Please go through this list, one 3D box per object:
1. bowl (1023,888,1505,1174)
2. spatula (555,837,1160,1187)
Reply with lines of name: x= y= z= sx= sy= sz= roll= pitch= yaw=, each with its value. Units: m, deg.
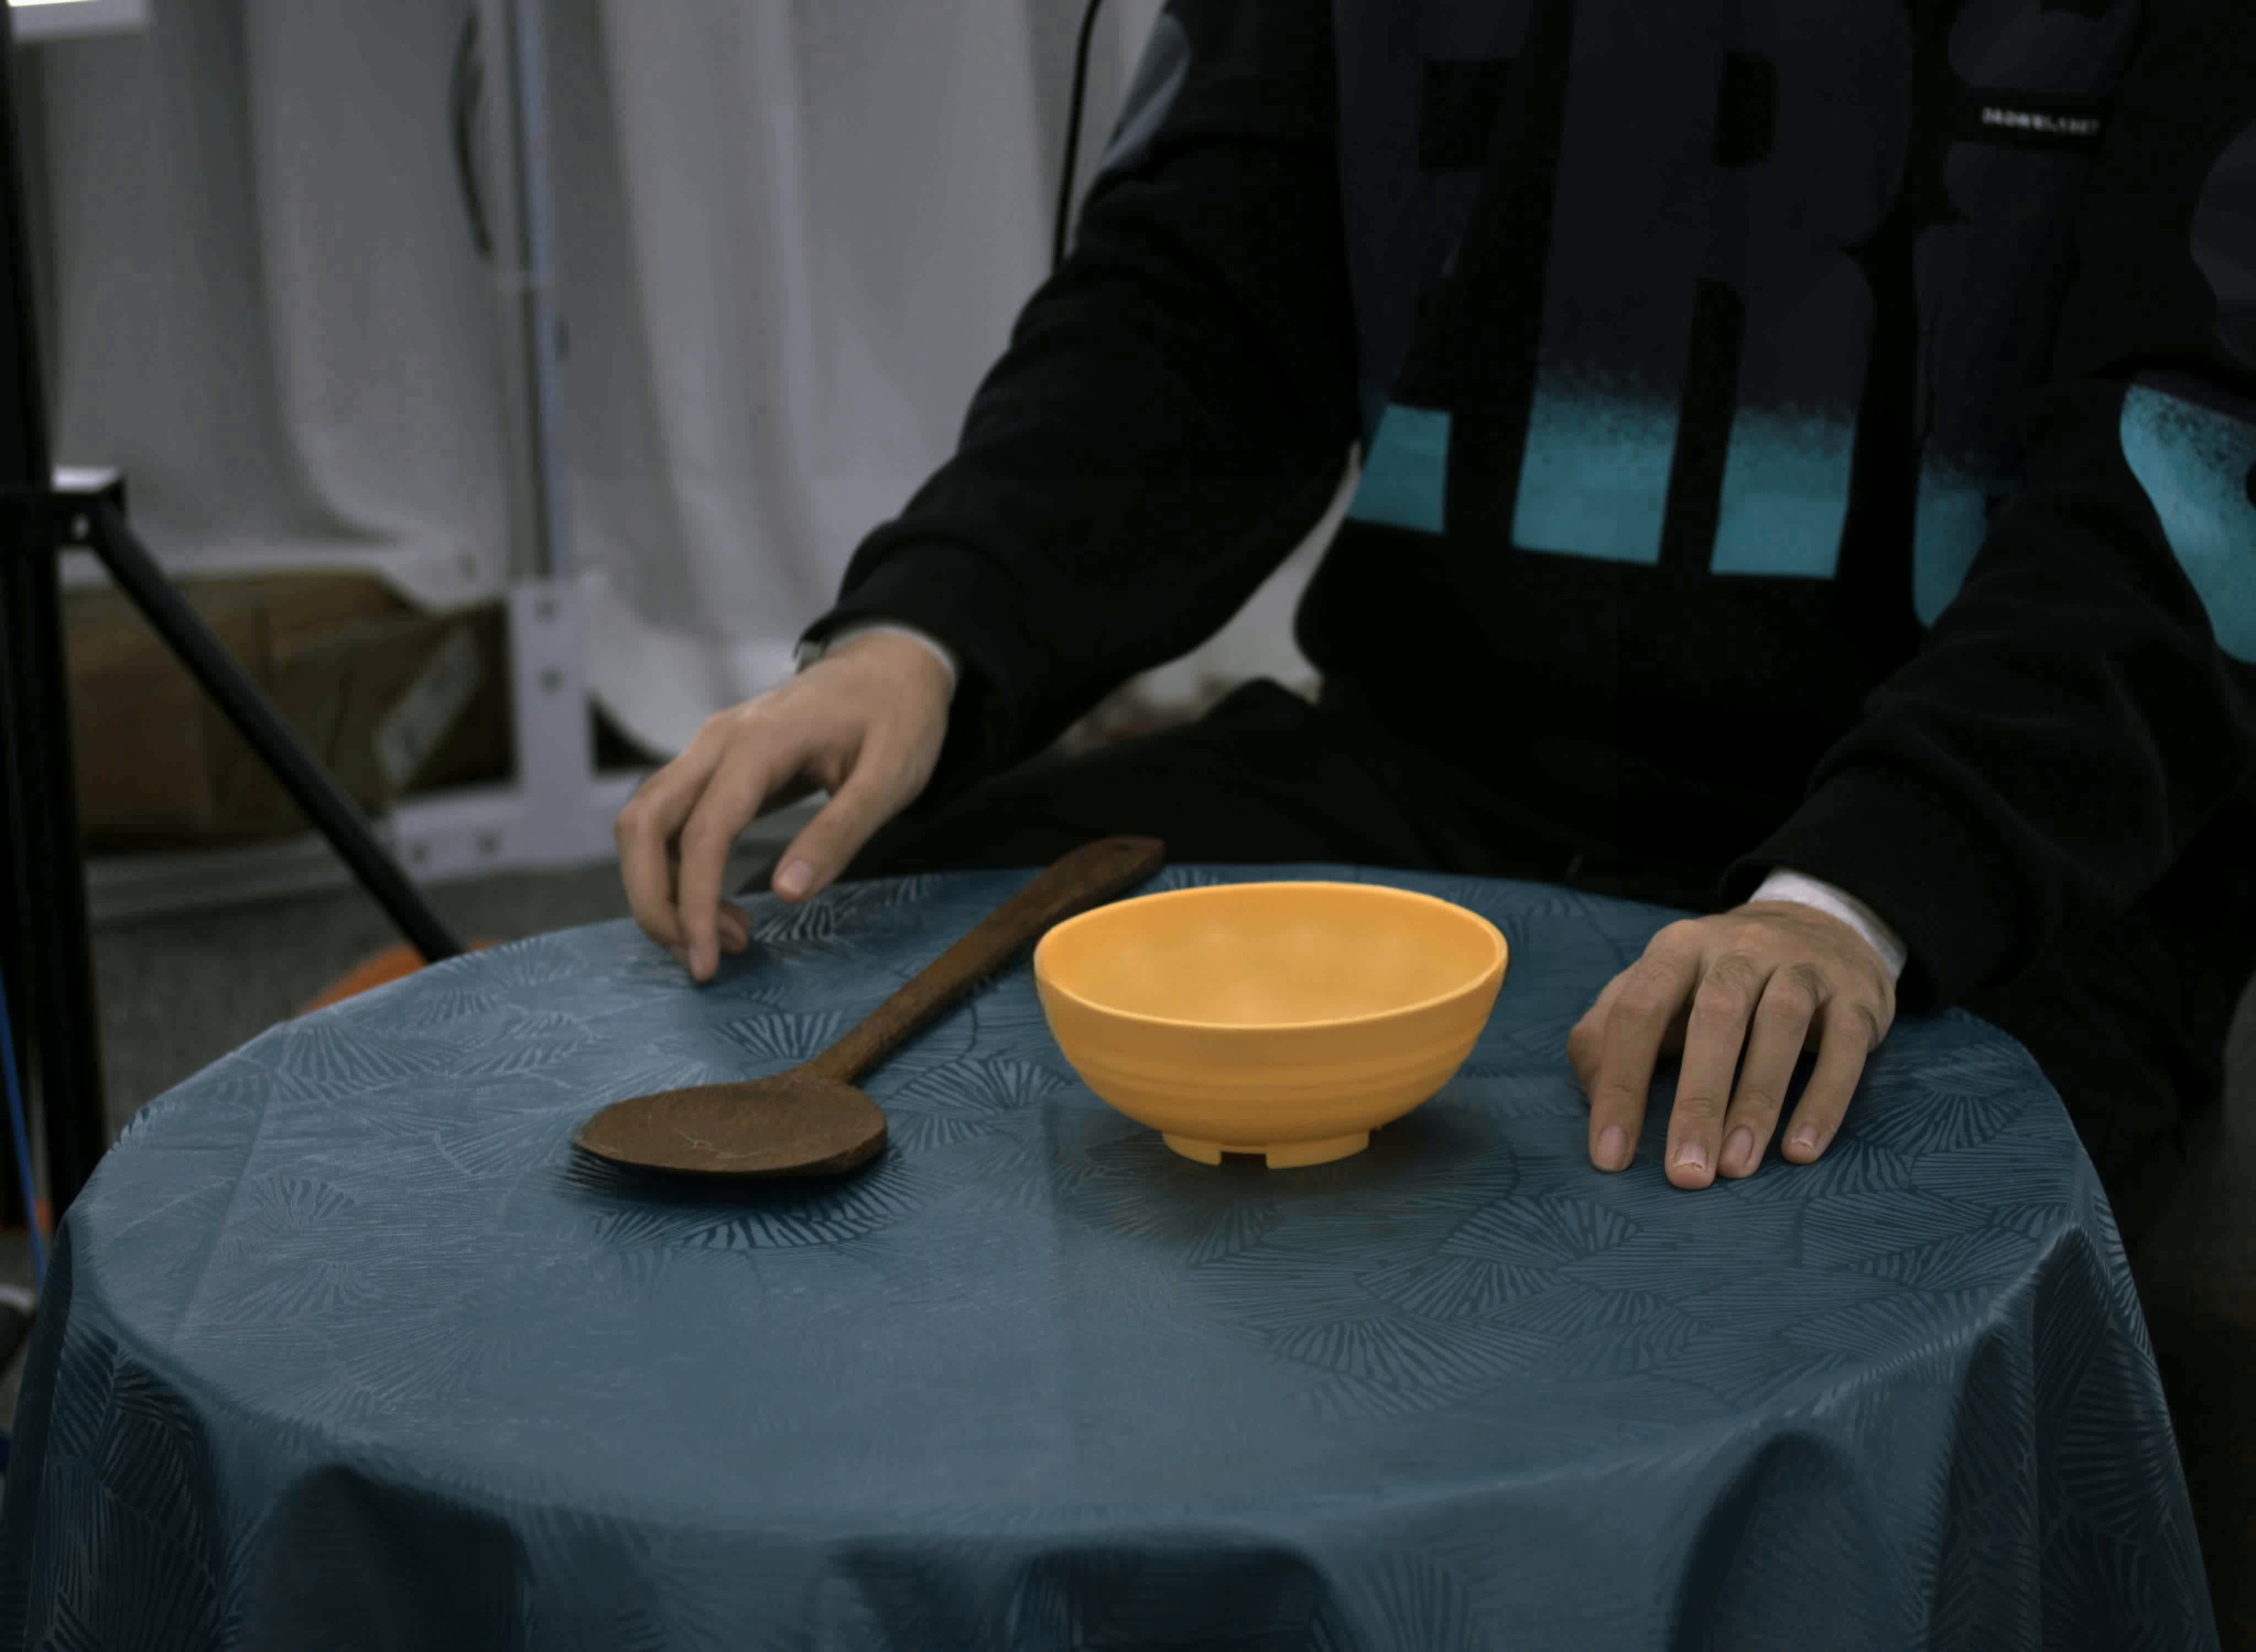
bowl: x=0.040 y=0.067 z=1.596 sx=0.144 sy=0.060 sz=0.146 roll=0 pitch=15 yaw=-1
spatula: x=-0.066 y=0.055 z=1.733 sx=0.097 sy=0.016 sz=0.381 roll=4 pitch=17 yaw=21
